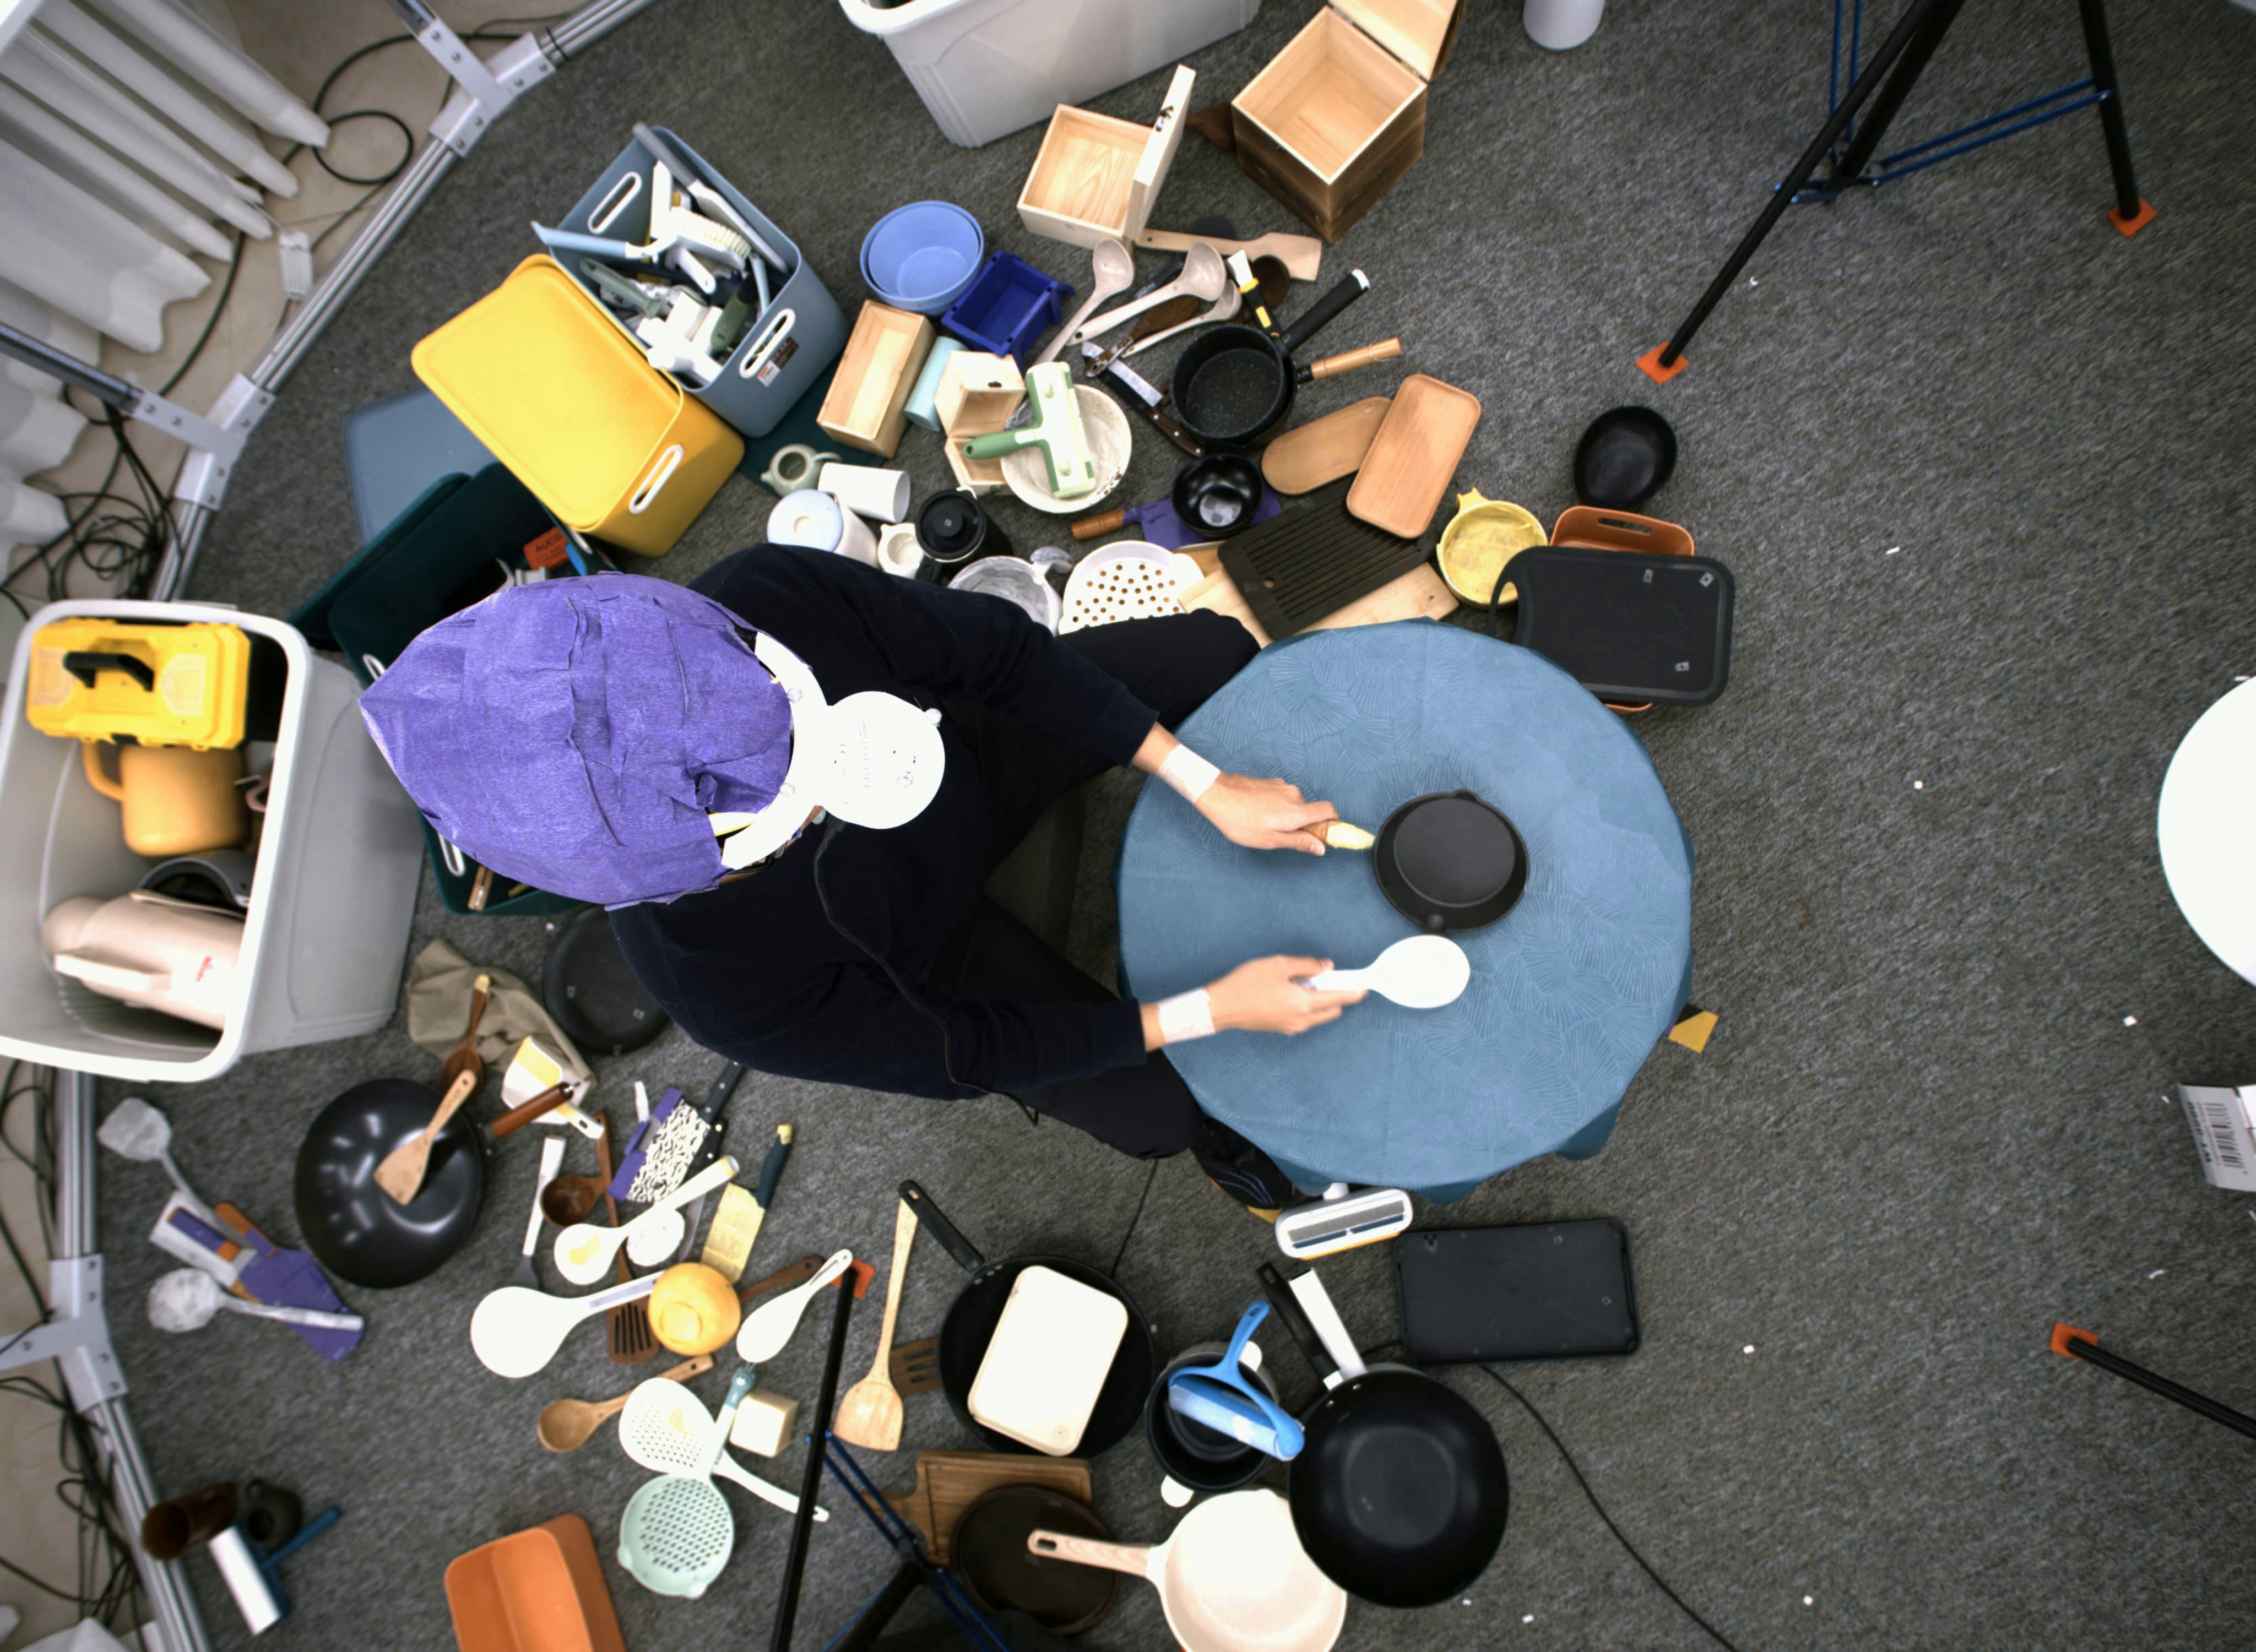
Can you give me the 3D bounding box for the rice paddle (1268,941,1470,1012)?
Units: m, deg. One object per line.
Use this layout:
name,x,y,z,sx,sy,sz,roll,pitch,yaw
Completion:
rice paddle,0.246,0.158,1.407,0.206,0.029,0.068,-8,90,6

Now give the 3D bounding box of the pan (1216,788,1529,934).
pan,0.249,0.011,1.418,0.324,0.048,0.173,16,120,13
